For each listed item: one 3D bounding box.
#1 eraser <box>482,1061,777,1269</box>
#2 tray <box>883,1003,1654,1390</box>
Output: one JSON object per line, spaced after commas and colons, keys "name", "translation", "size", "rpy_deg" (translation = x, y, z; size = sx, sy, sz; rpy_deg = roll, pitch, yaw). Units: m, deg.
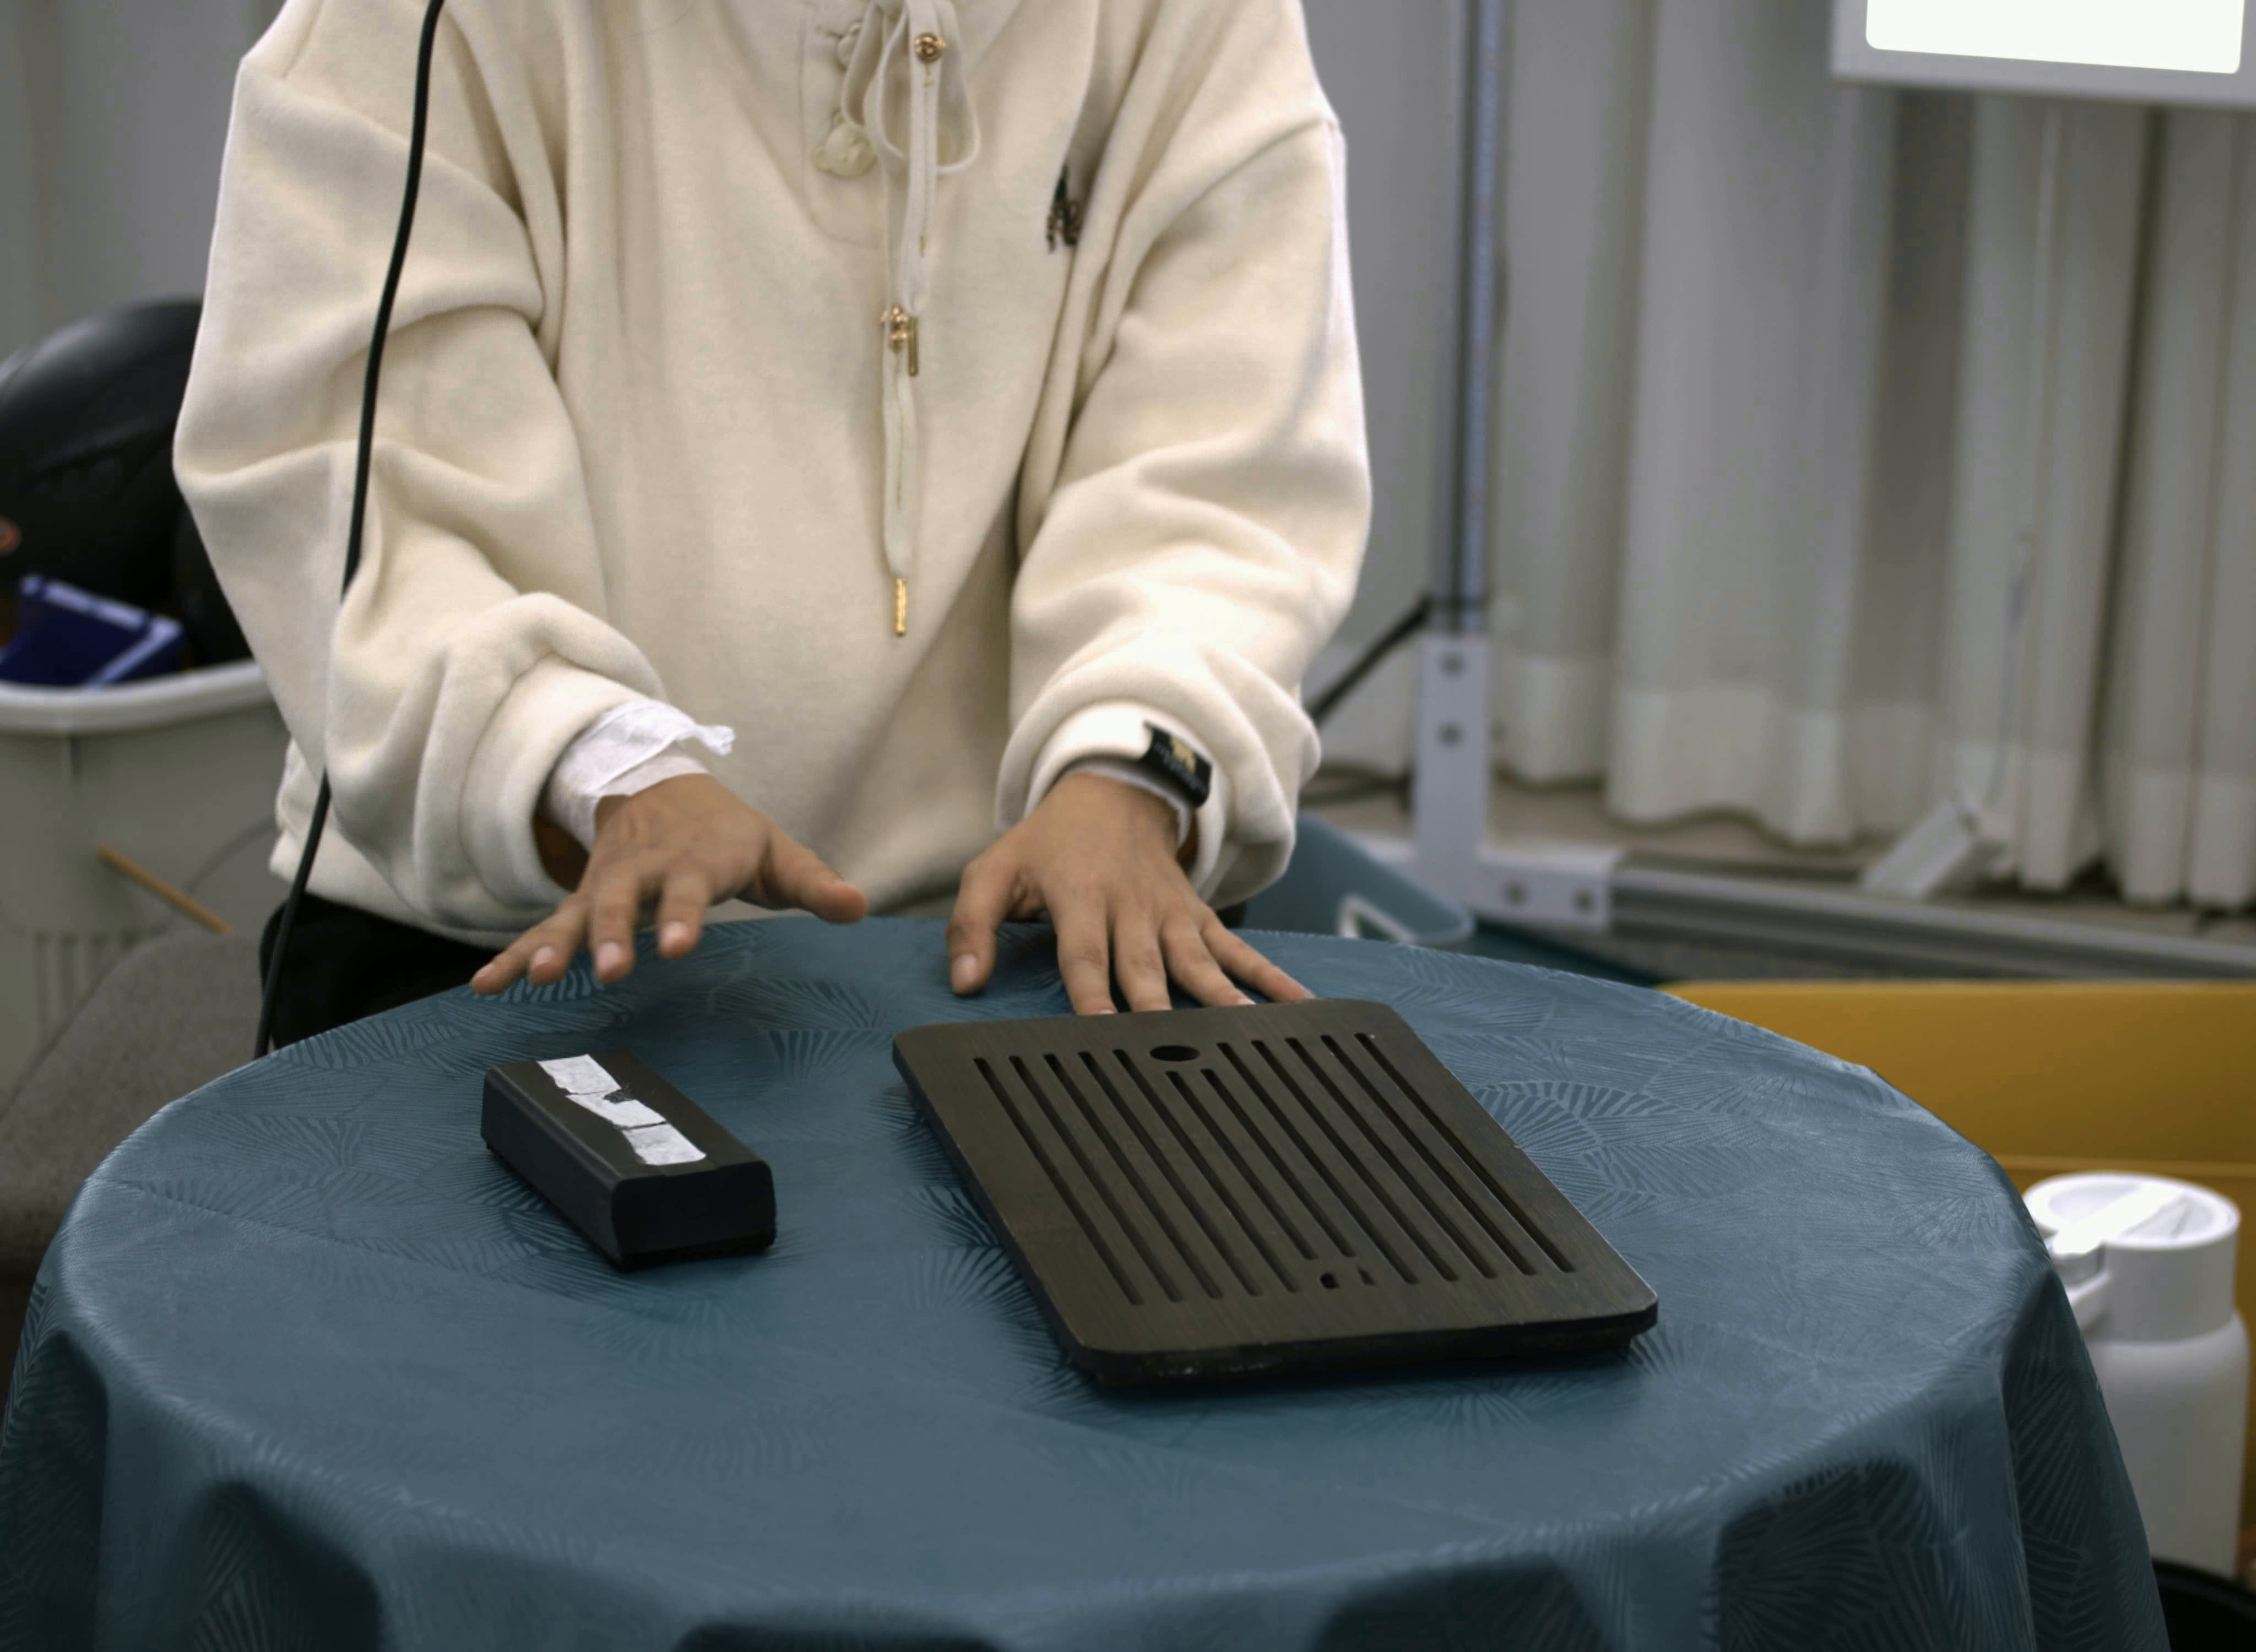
{"name": "eraser", "translation": [-0.153, 0.102, 1.603], "size": [0.054, 0.030, 0.124], "rpy_deg": [-3, 15, -25]}
{"name": "tray", "translation": [0.034, 0.109, 1.600], "size": [0.170, 0.019, 0.303], "rpy_deg": [-3, 16, -13]}
